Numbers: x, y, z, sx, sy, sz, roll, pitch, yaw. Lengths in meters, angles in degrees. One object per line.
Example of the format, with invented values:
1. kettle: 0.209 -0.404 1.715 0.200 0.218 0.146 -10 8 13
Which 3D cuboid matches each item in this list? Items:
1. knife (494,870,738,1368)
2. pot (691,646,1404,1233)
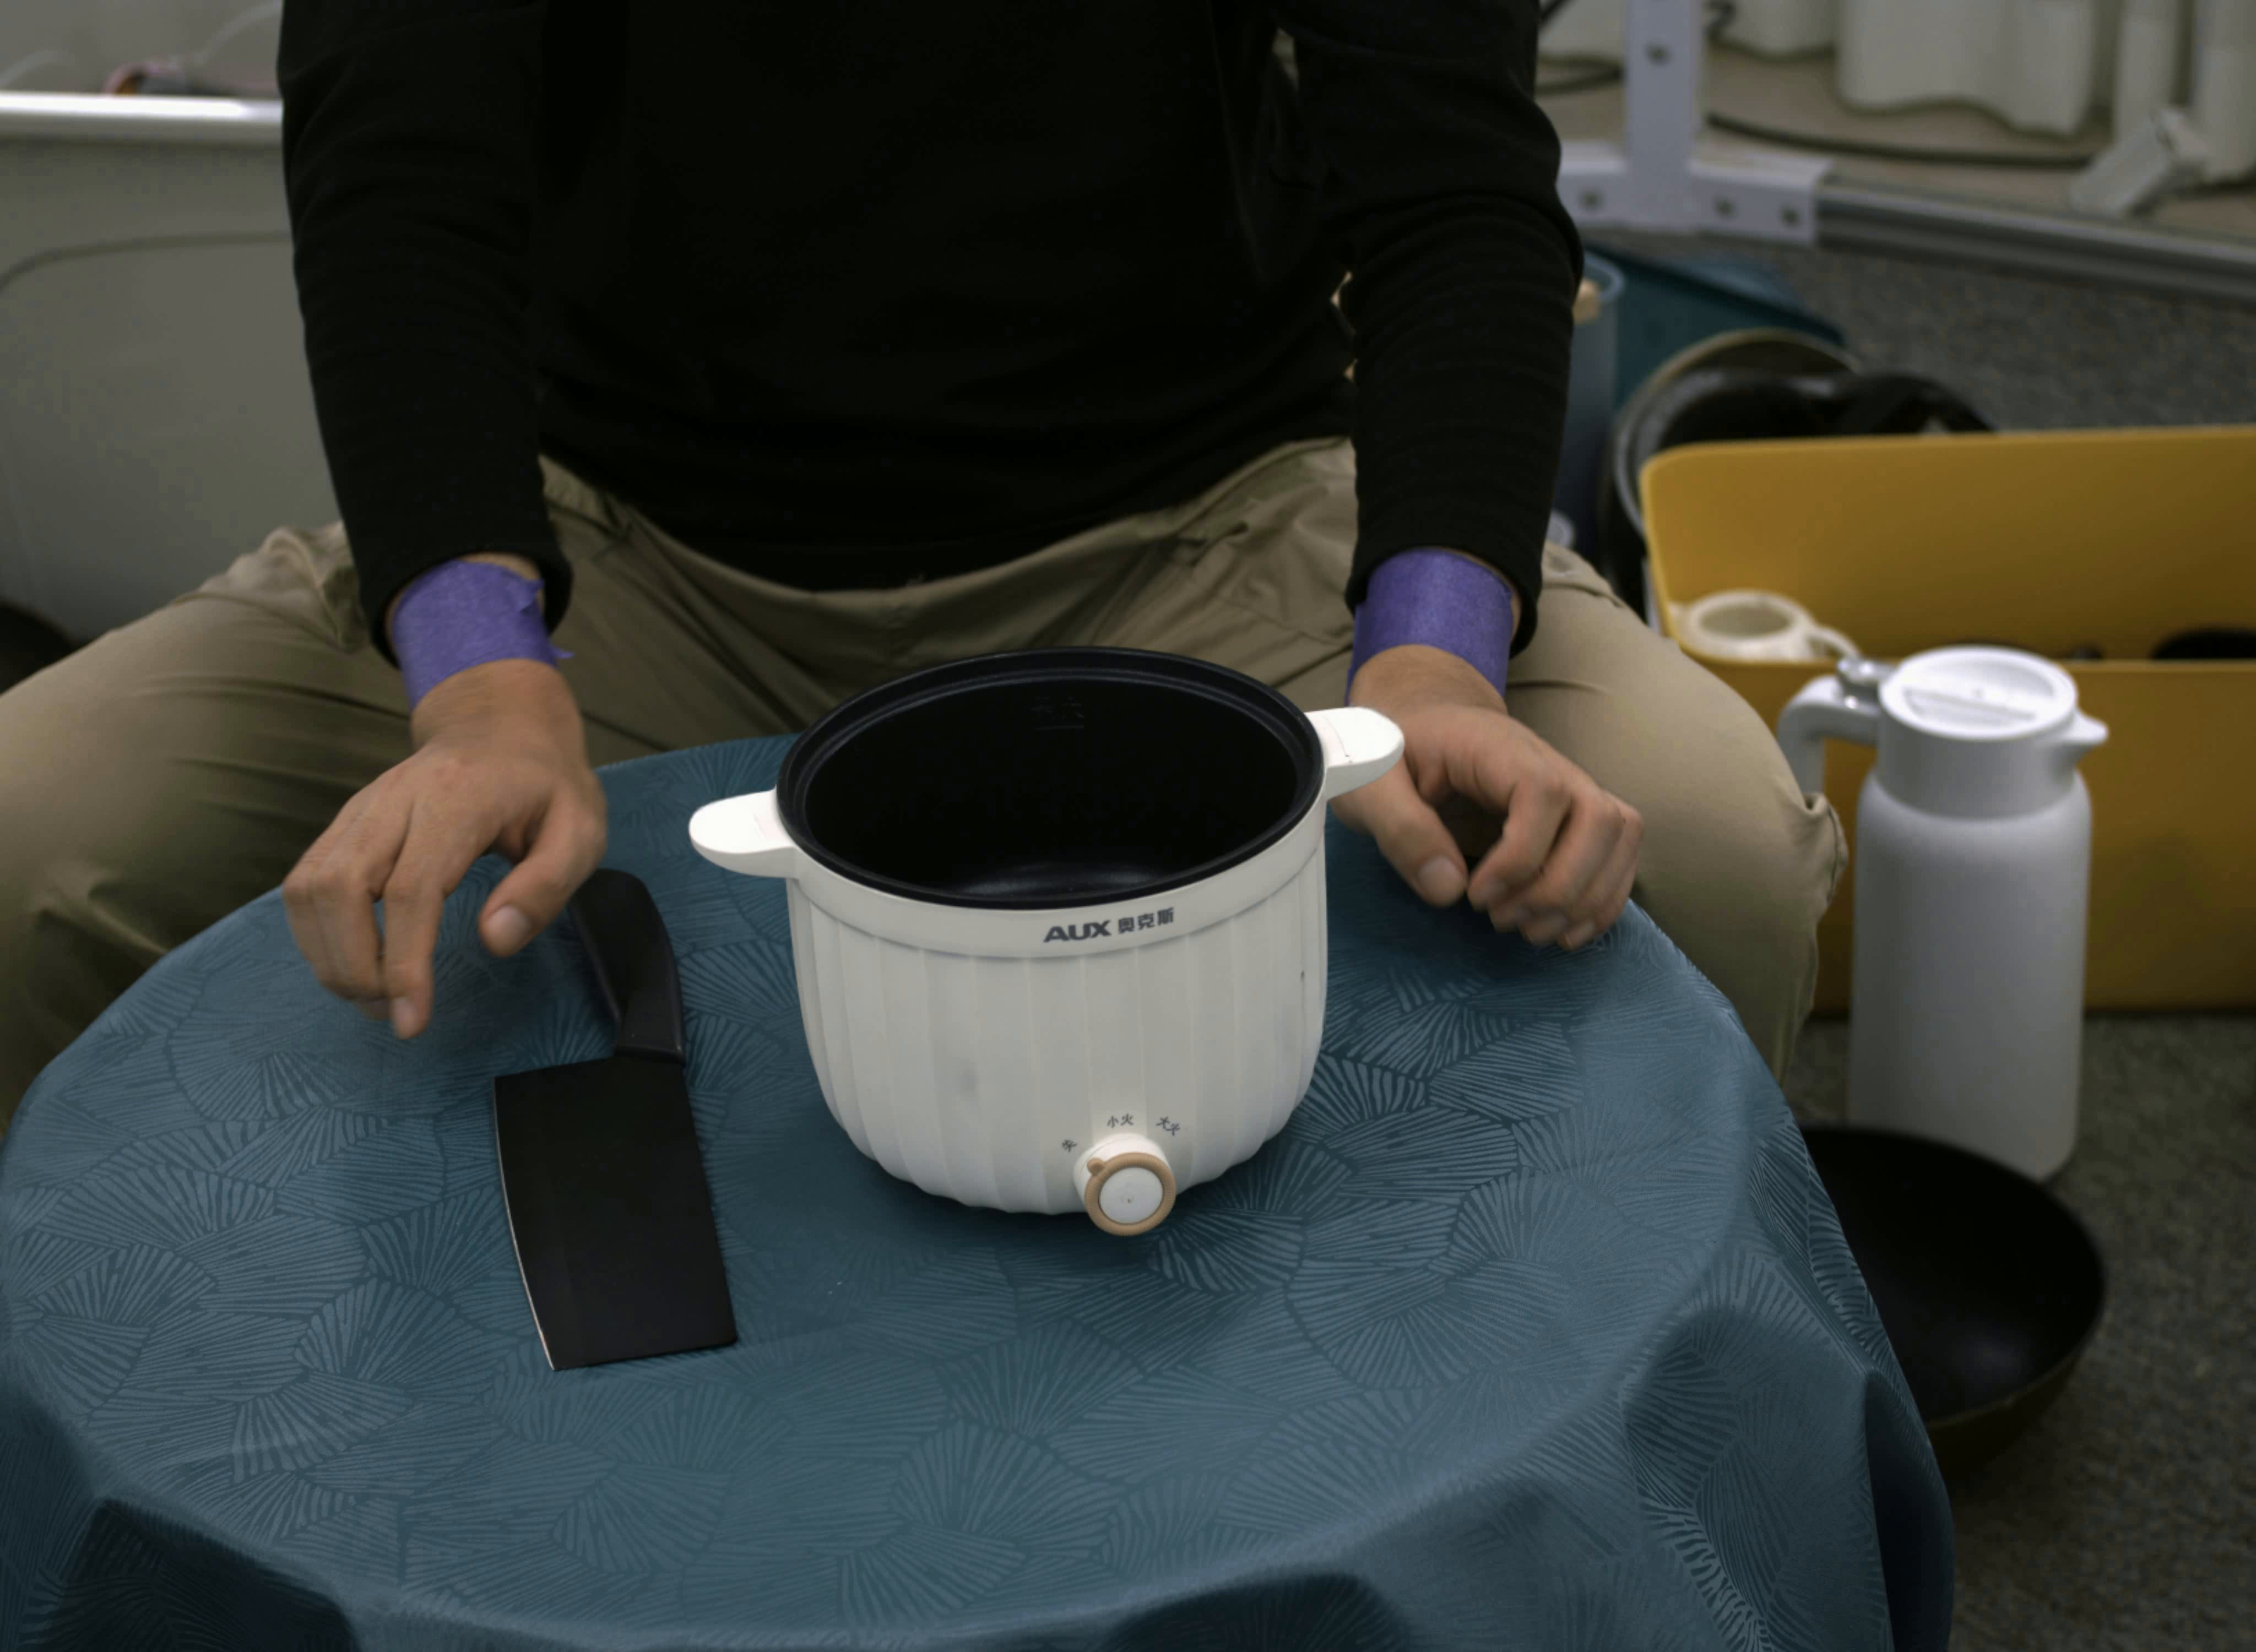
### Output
1. knife: -0.176 0.097 1.910 0.080 0.020 0.307 -5 29 -3
2. pot: -0.020 0.042 1.867 0.240 0.141 0.192 -9 24 -10
